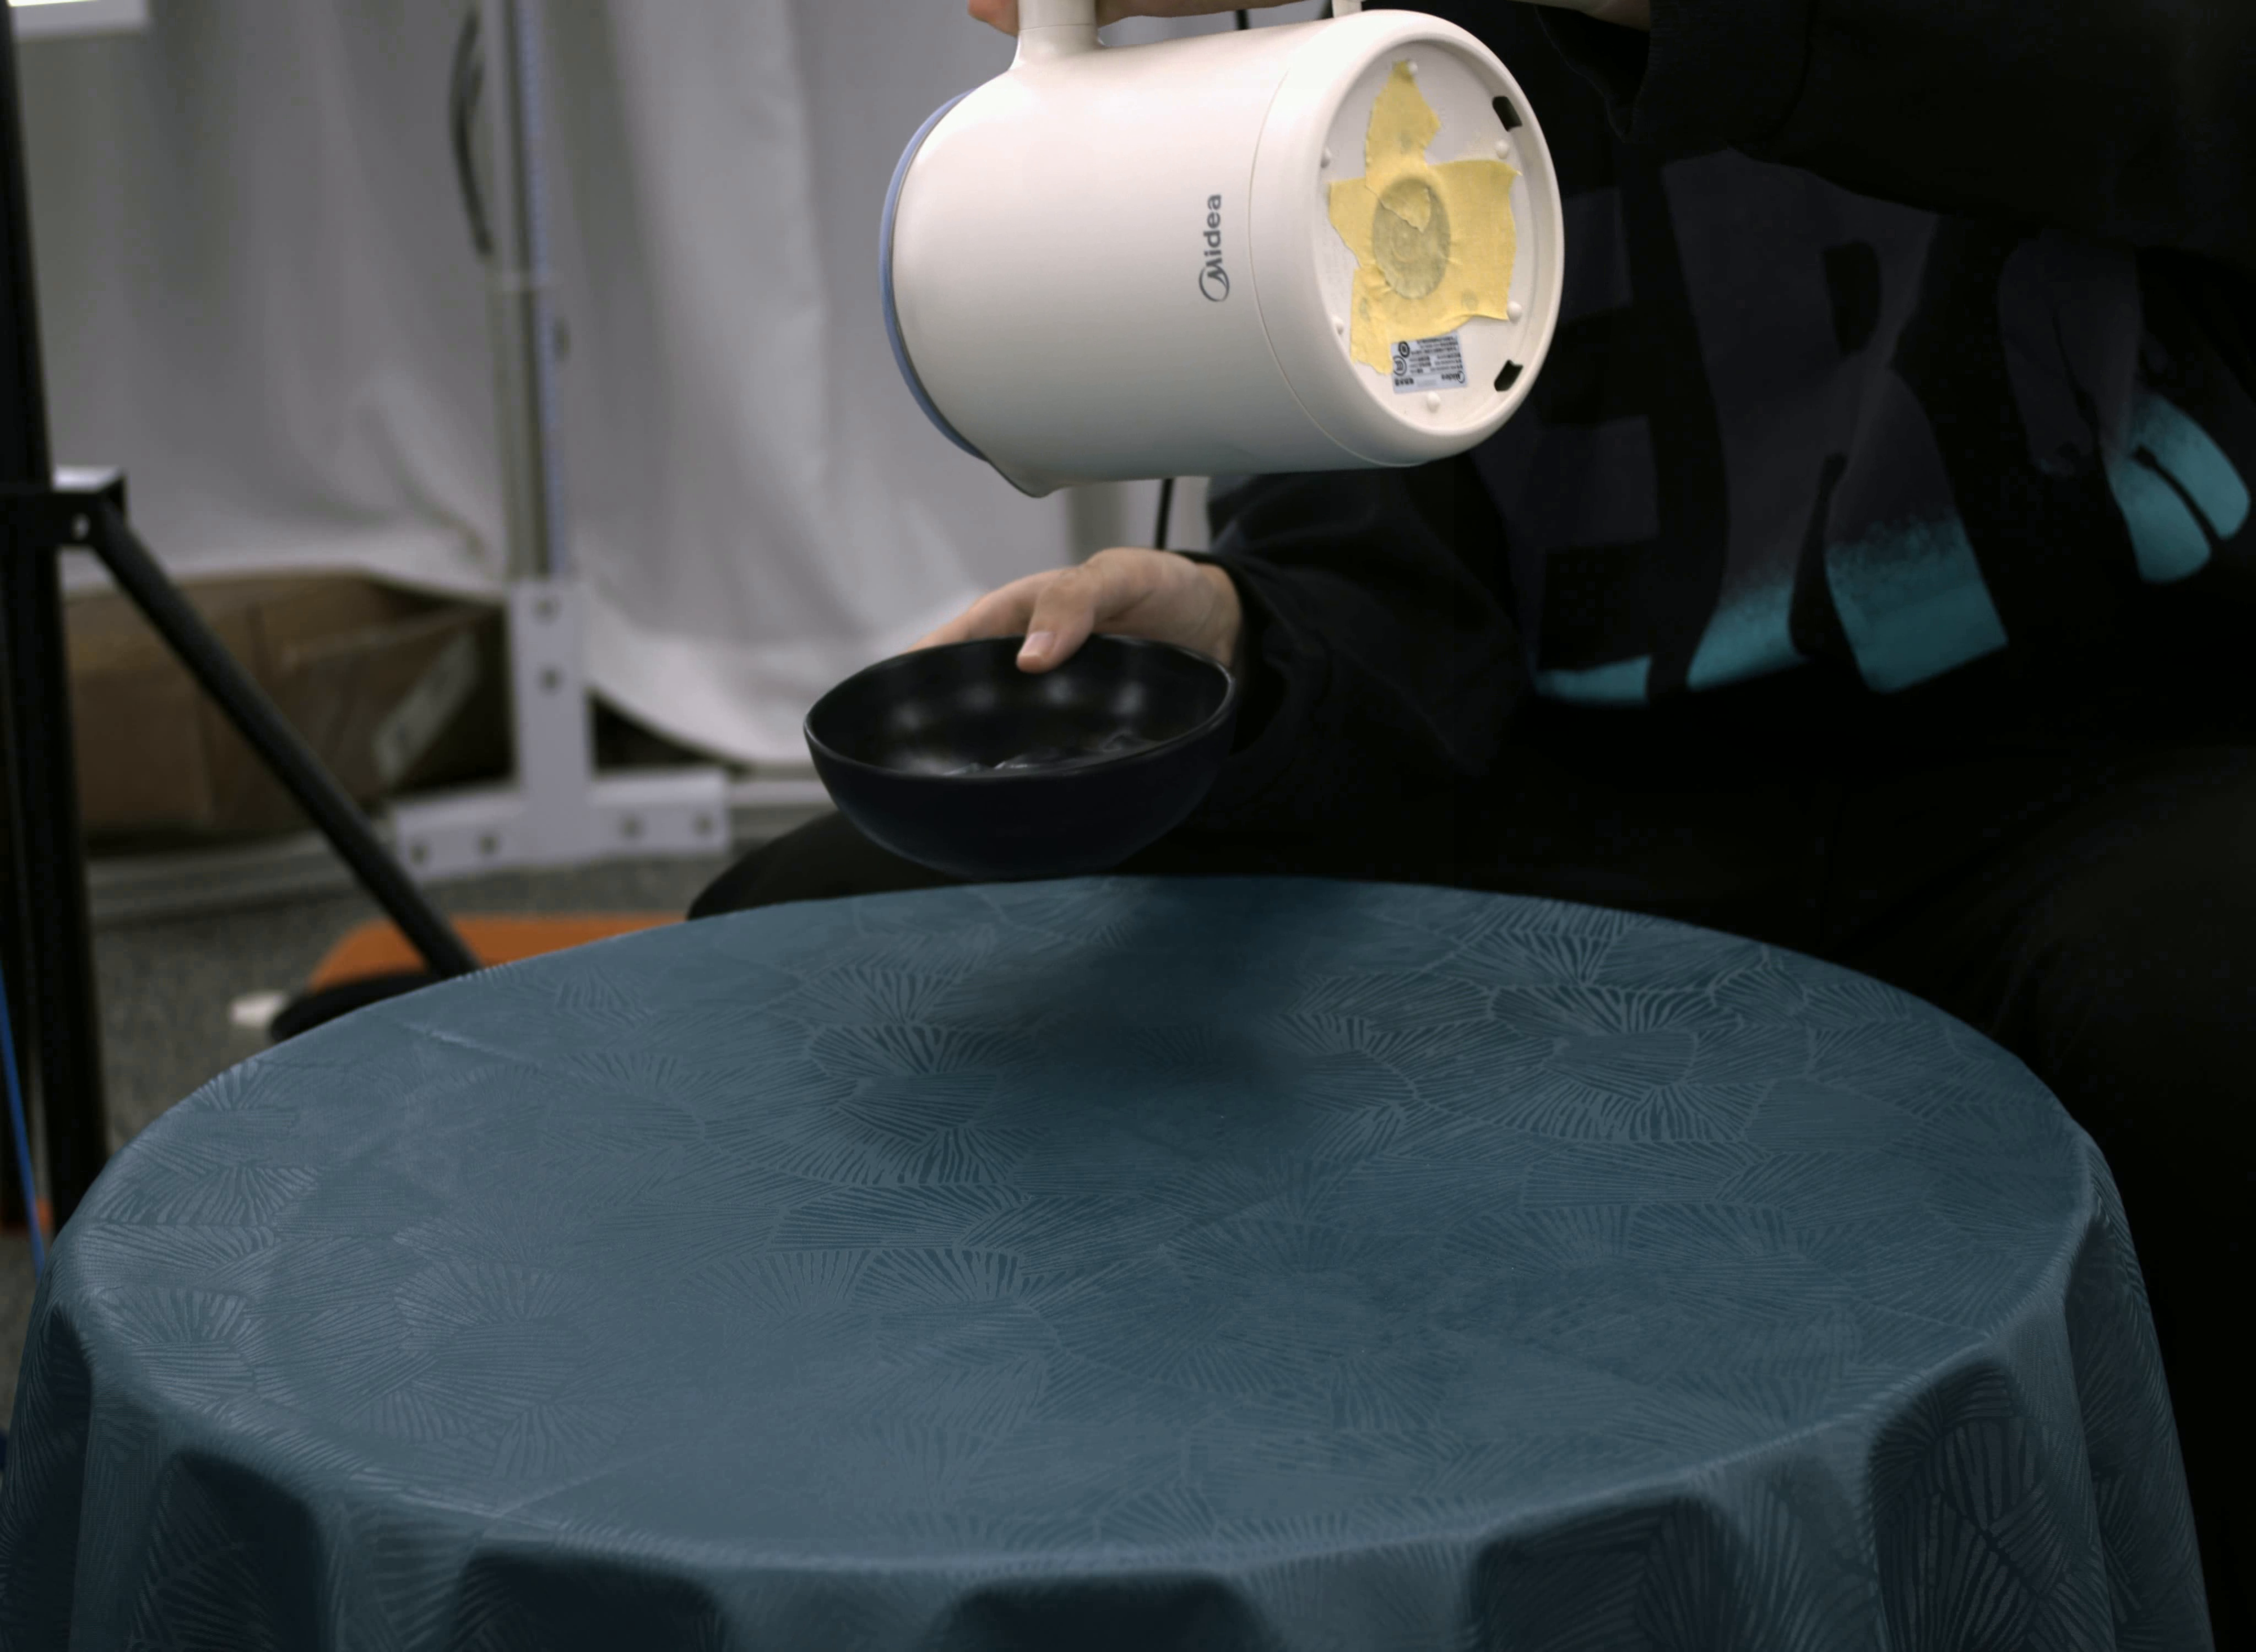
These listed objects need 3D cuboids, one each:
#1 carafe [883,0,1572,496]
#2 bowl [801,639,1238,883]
[{"bbox_3d":[0.028,-0.194,1.582,0.186,0.192,0.129,3,6,41],"label":"carafe"},{"bbox_3d":[-0.033,-0.016,1.687,0.139,0.050,0.141,-4,18,0],"label":"bowl"}]
